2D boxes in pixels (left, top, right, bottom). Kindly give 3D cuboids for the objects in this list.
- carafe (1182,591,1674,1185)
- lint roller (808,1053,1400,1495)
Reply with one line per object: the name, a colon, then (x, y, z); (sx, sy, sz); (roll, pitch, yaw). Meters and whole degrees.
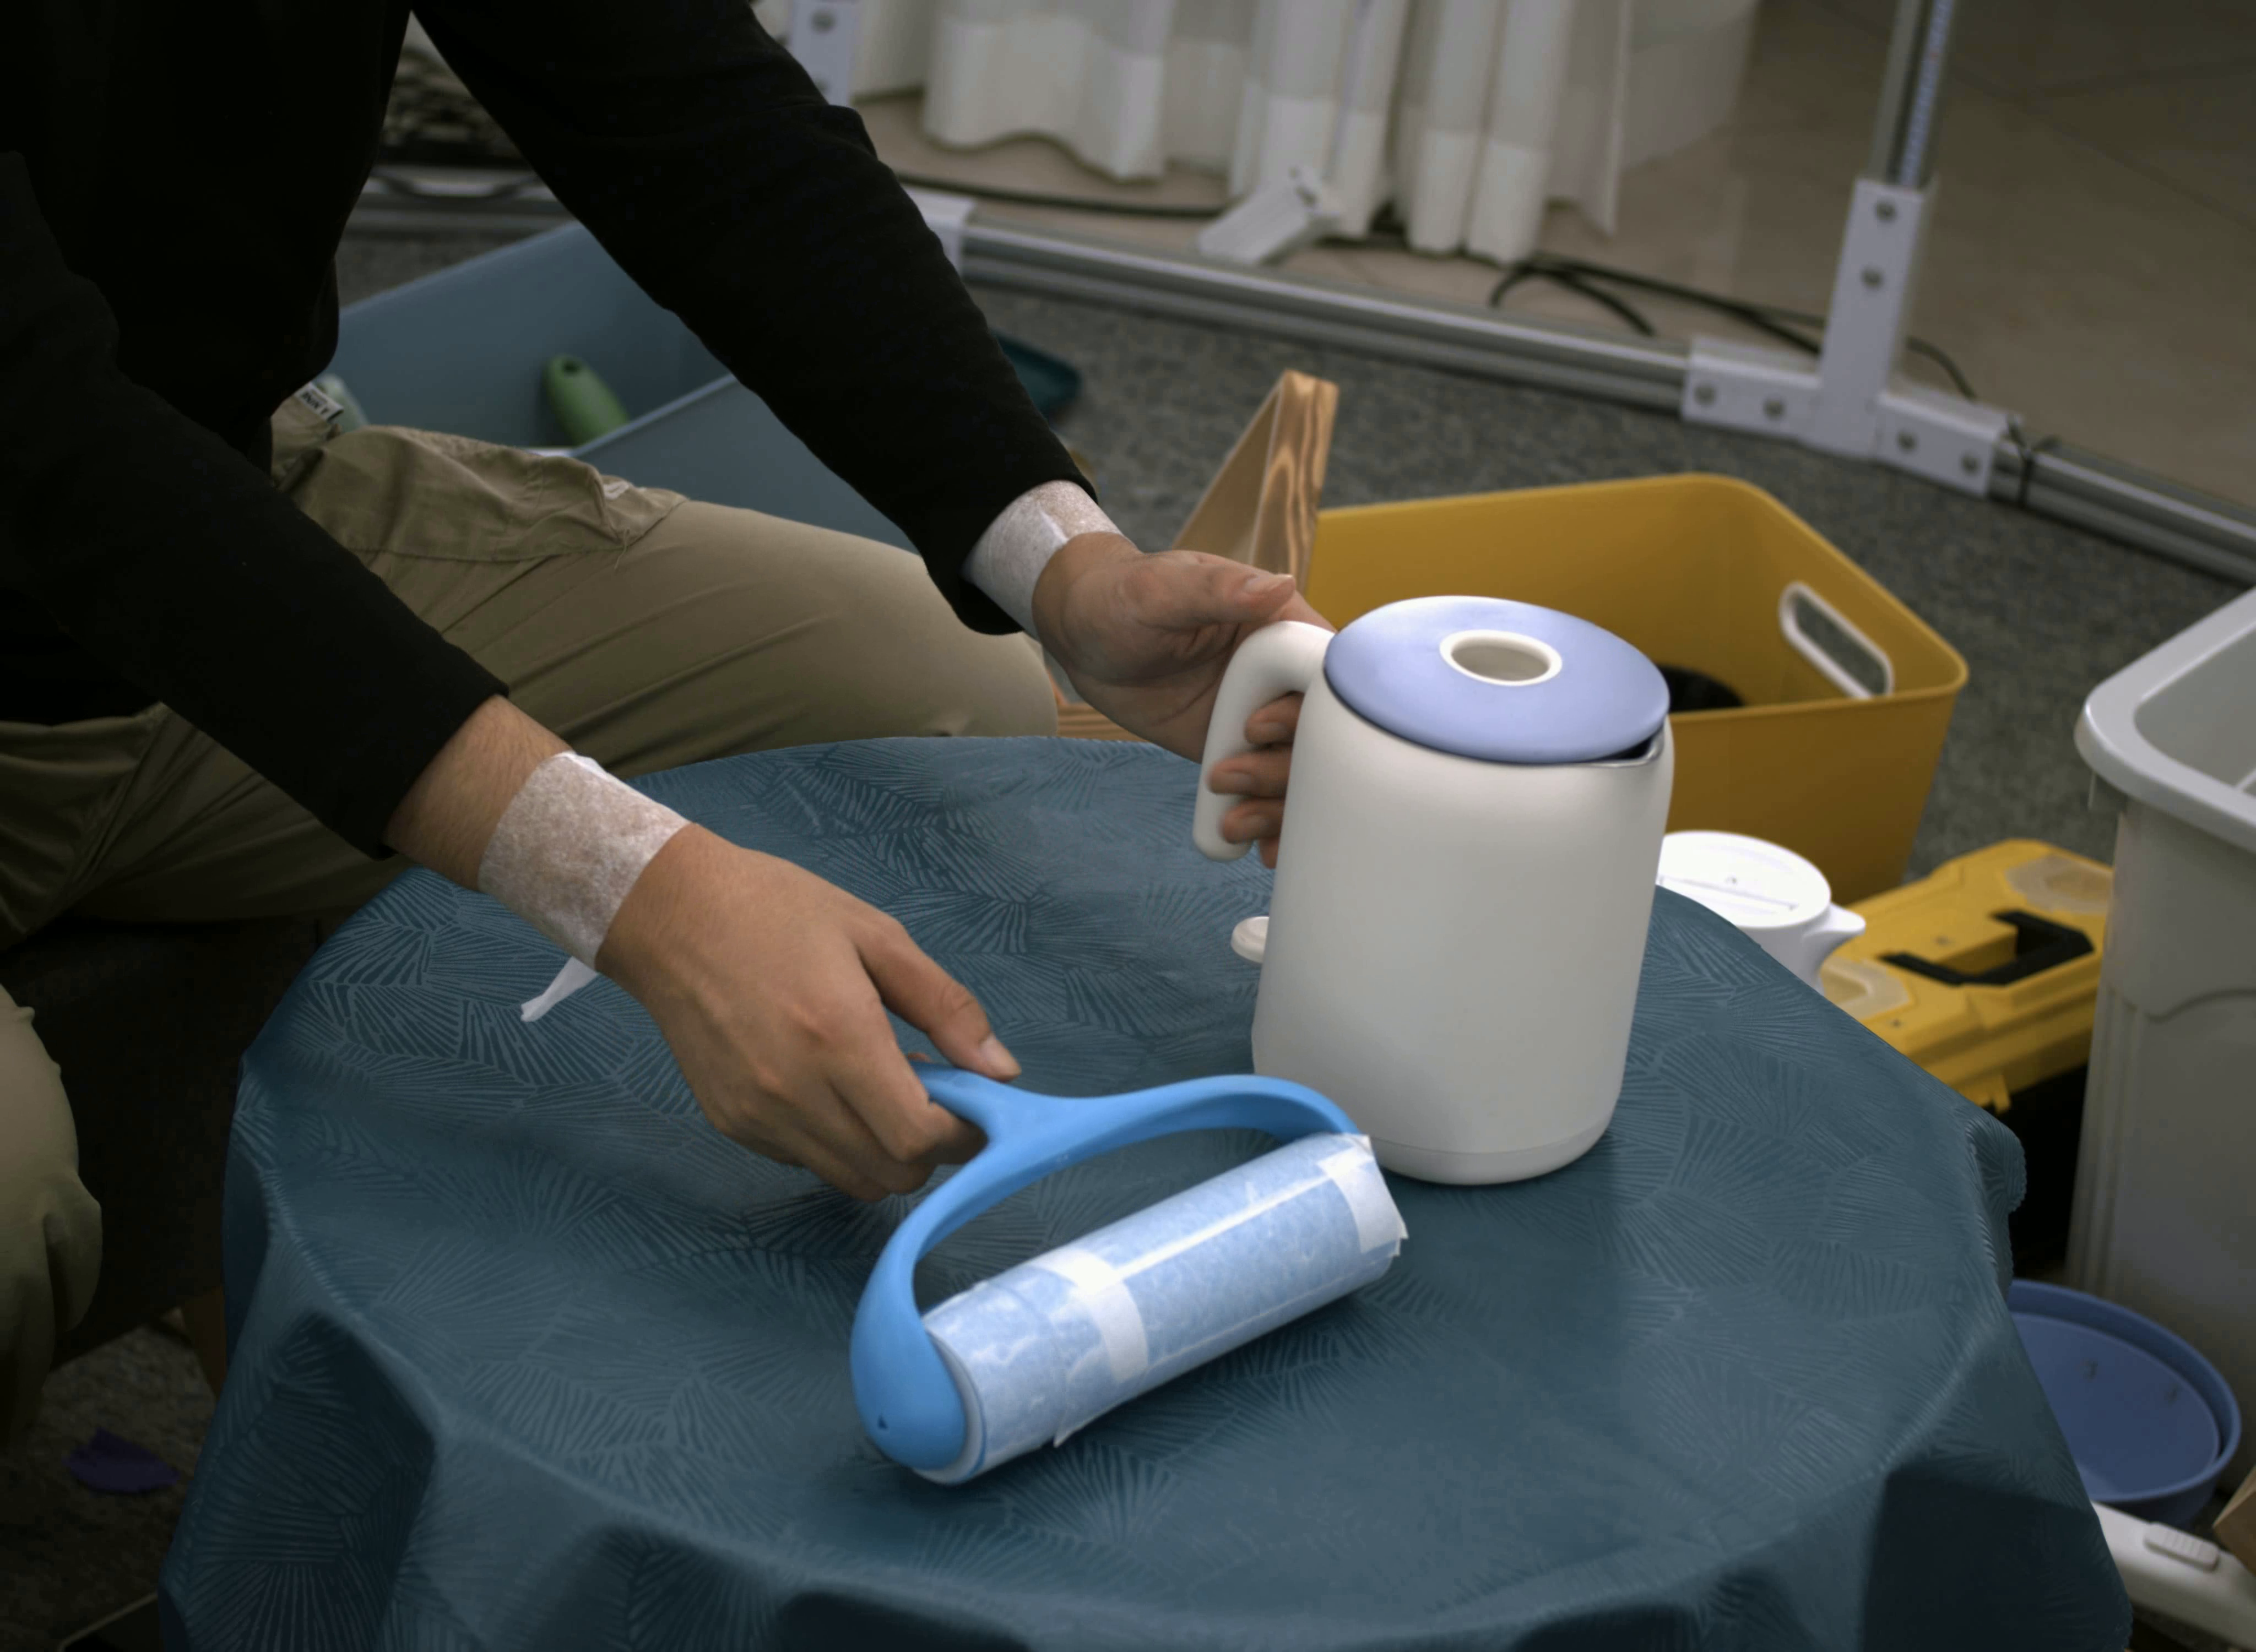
carafe: (0.098, 0.012, 1.853); (0.192, 0.182, 0.131); (24, 31, 35)
lint roller: (-0.037, 0.118, 1.718); (0.228, 0.067, 0.181); (-25, 55, -41)
